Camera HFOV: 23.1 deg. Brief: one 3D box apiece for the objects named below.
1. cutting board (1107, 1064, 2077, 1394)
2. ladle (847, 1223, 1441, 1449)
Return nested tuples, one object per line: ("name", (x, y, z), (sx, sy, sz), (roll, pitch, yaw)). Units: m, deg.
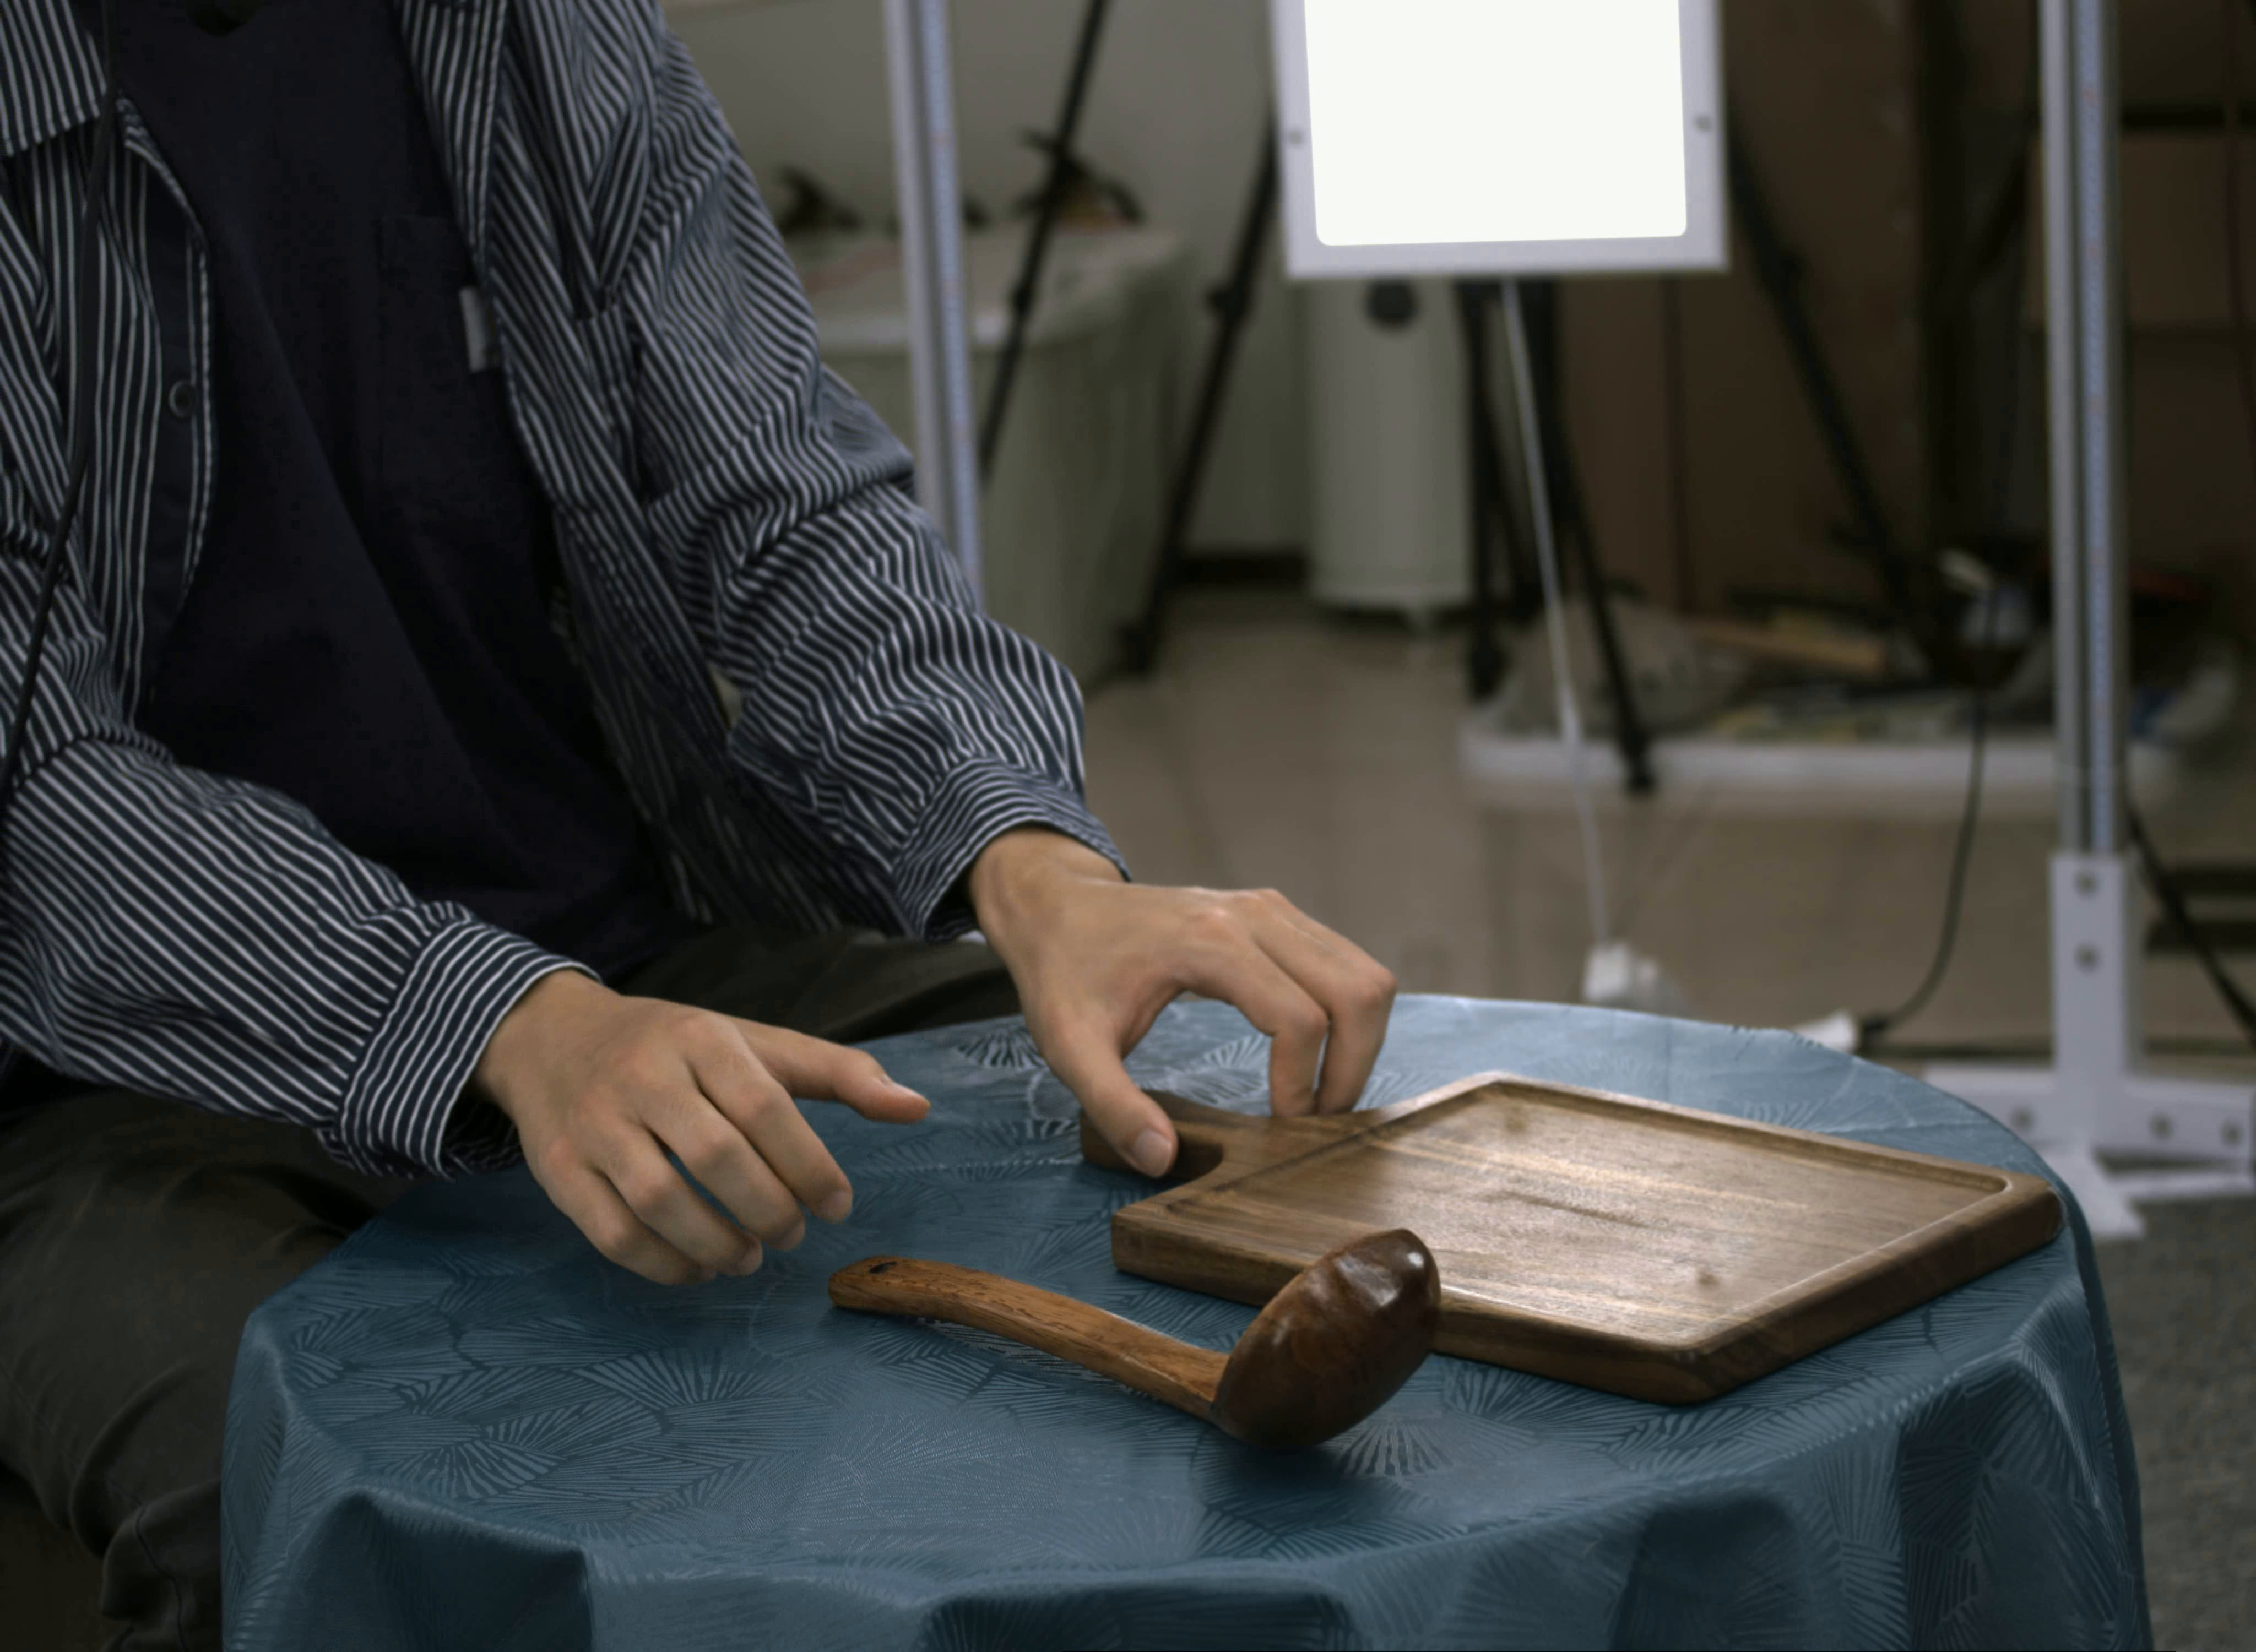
("cutting board", (0.124, 0.121, 1.826), (0.196, 0.023, 0.360), (-17, 18, -40))
("ladle", (-0.009, 0.136, 1.694), (0.080, 0.077, 0.280), (-20, 20, -34))
